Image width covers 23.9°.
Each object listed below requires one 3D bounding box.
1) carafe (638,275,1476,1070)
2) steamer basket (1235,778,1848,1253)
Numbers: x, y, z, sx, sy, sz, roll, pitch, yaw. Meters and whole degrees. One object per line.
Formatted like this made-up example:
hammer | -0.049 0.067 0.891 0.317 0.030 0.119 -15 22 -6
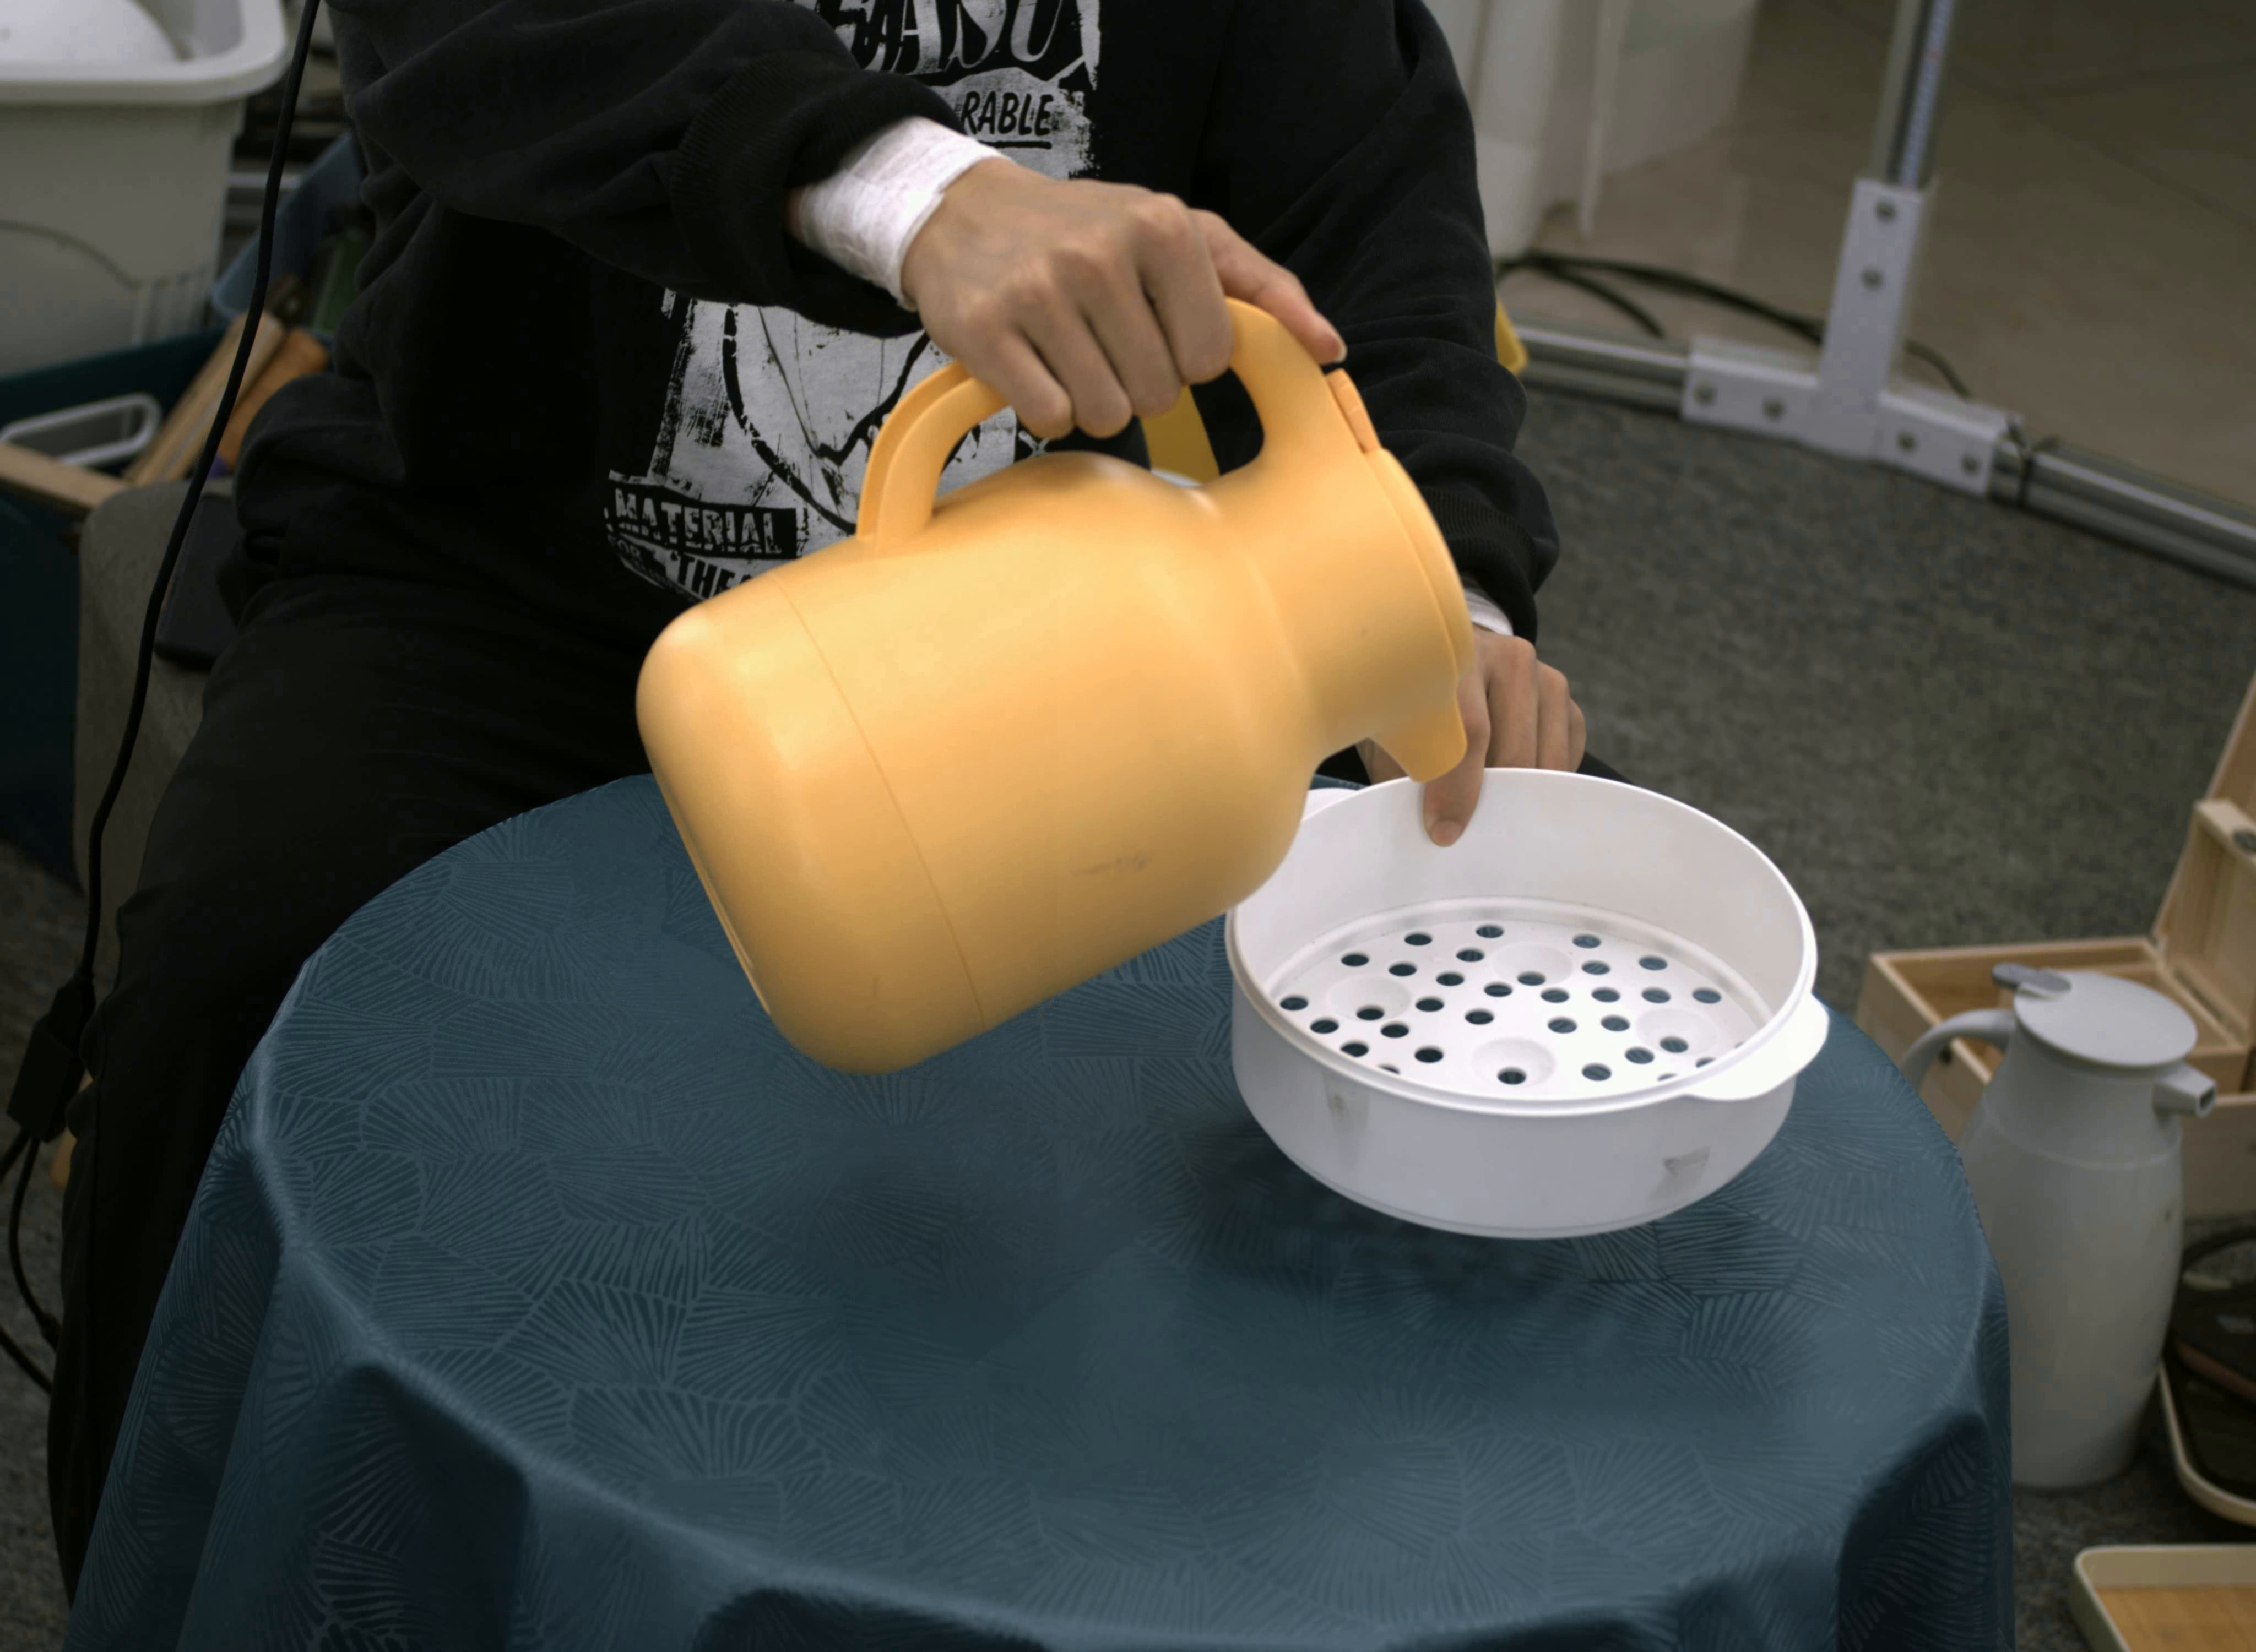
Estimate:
carafe | -0.025 -0.056 1.703 0.260 0.201 0.164 -25 19 -9
steamer basket | 0.136 0.065 1.812 0.232 0.069 0.201 25 42 32
